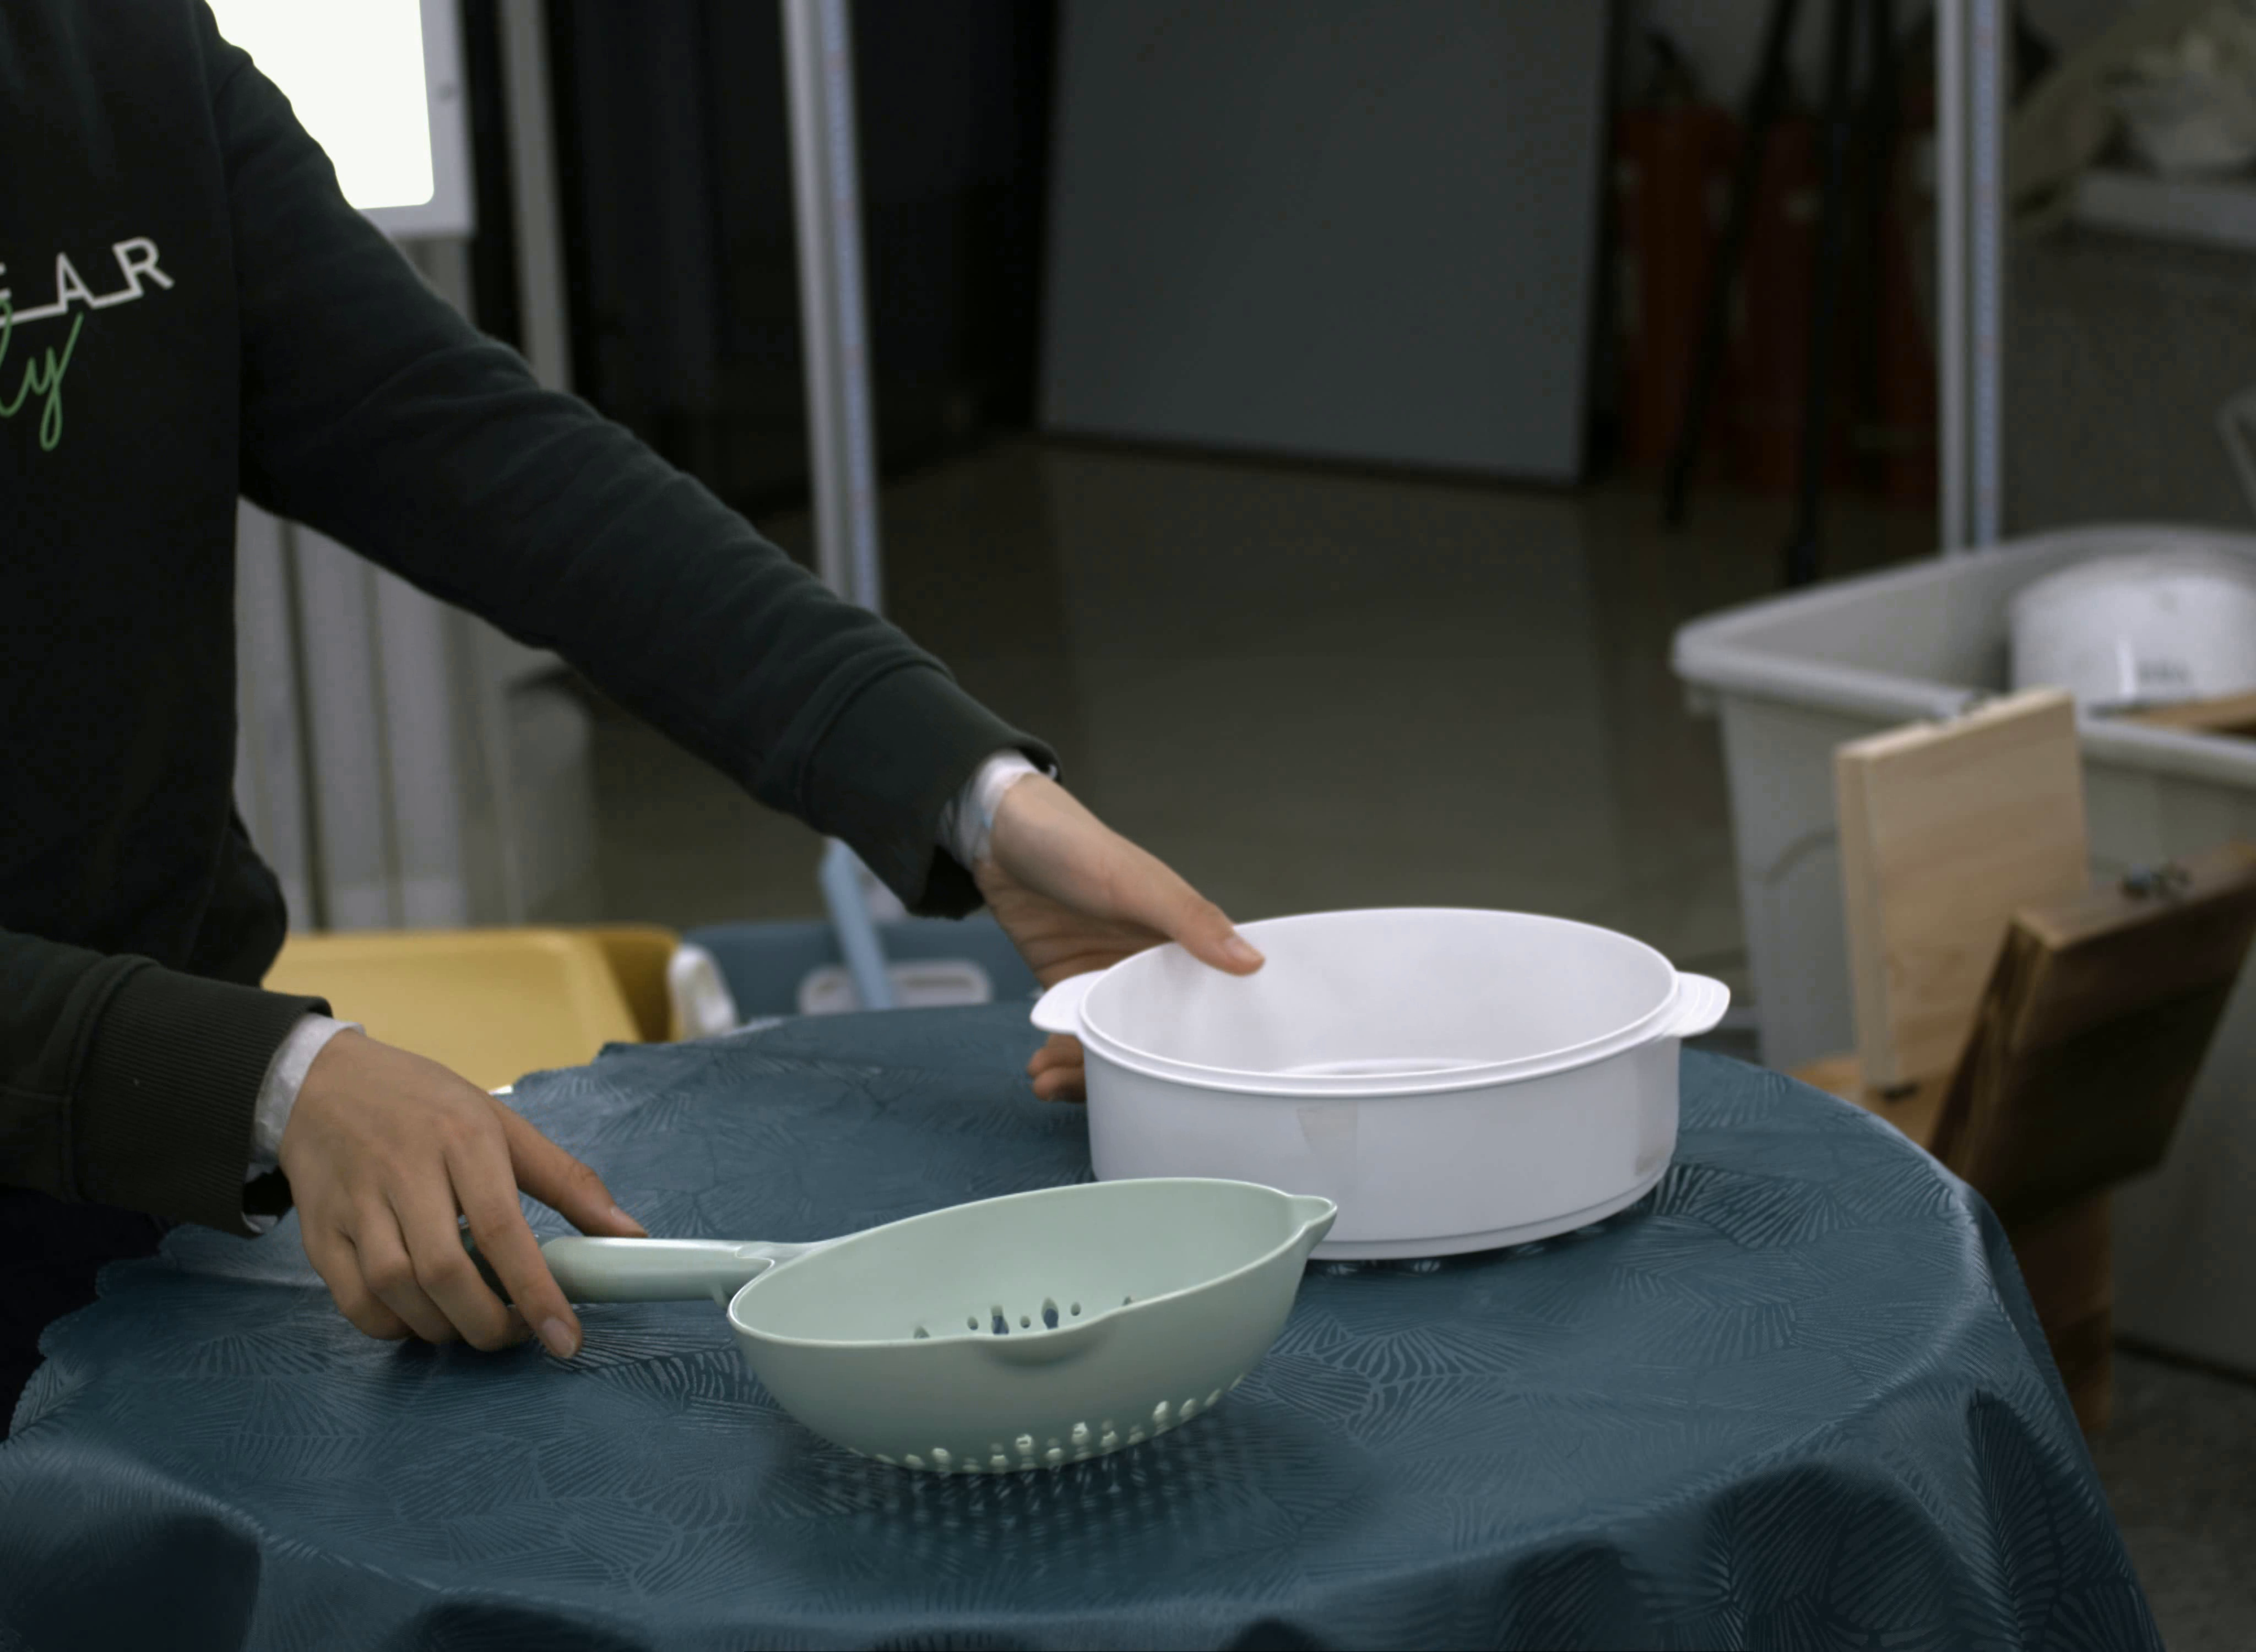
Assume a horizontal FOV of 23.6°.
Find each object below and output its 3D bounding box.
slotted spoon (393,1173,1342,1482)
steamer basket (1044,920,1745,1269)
[{"bbox_3d":[-0.099,0.138,1.599,0.362,0.076,0.166,8,18,41],"label":"slotted spoon"},{"bbox_3d":[0.088,0.086,1.752,0.229,0.070,0.200,-1,13,13],"label":"steamer basket"}]
